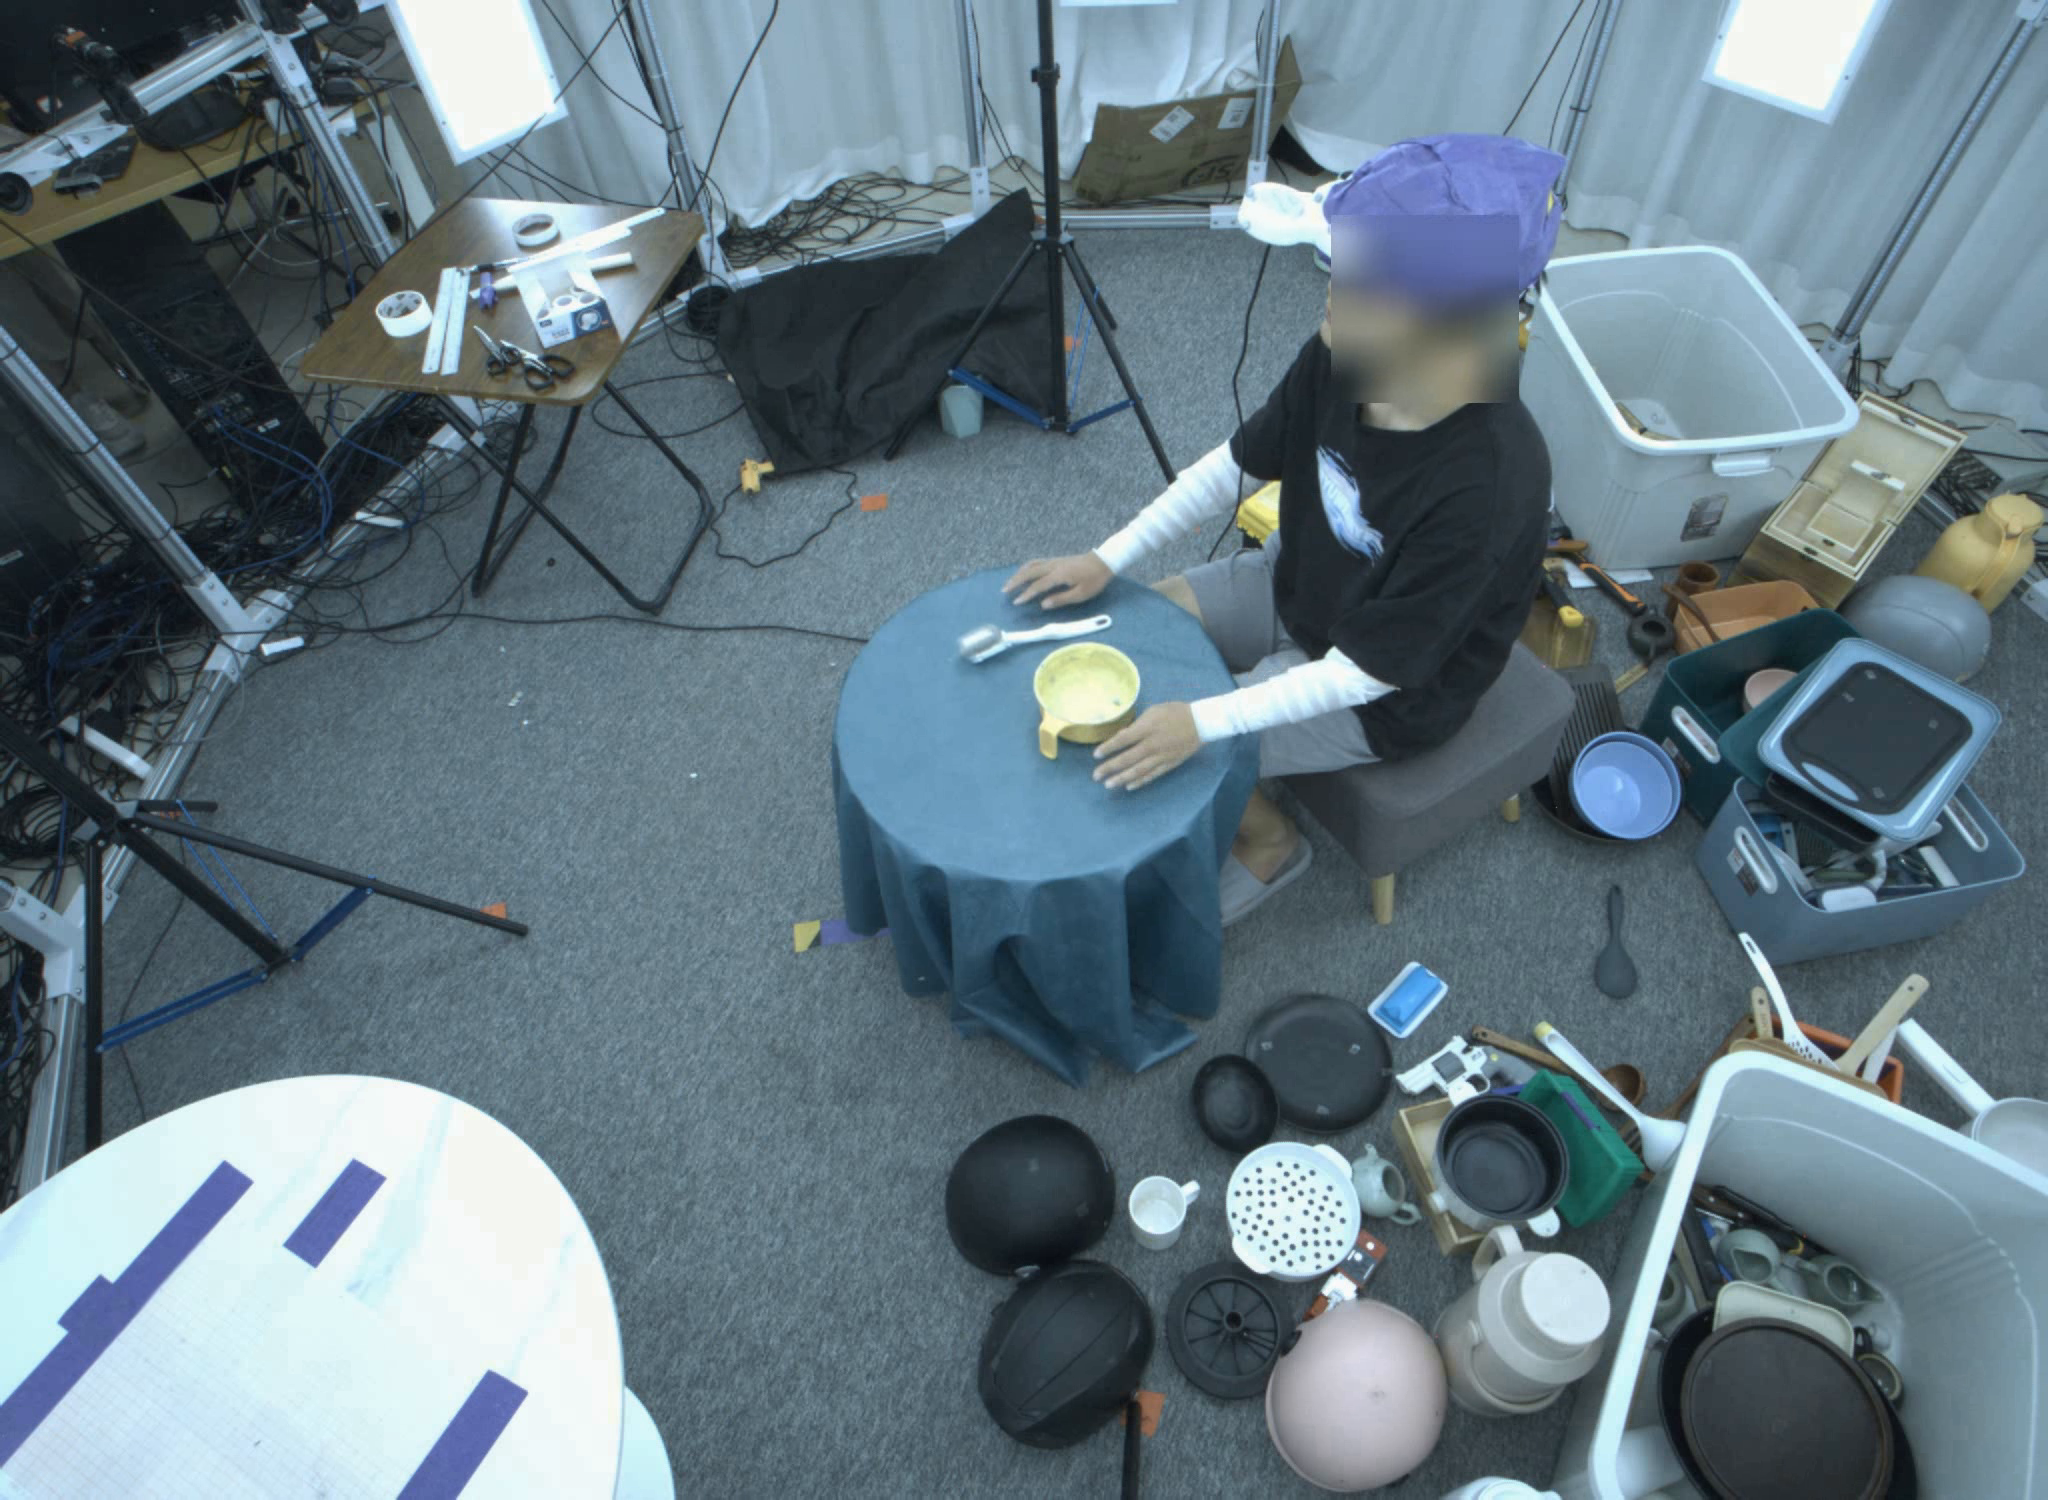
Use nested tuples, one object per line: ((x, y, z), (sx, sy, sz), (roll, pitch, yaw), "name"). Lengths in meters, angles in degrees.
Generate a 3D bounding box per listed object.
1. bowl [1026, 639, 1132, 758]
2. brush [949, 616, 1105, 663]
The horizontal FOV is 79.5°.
((0.072, -0.073, 1.785), (0.151, 0.075, 0.180), (28, 61, 15), "bowl")
((0.006, -0.183, 1.879), (0.245, 0.051, 0.034), (-14, 53, -7), "brush")
